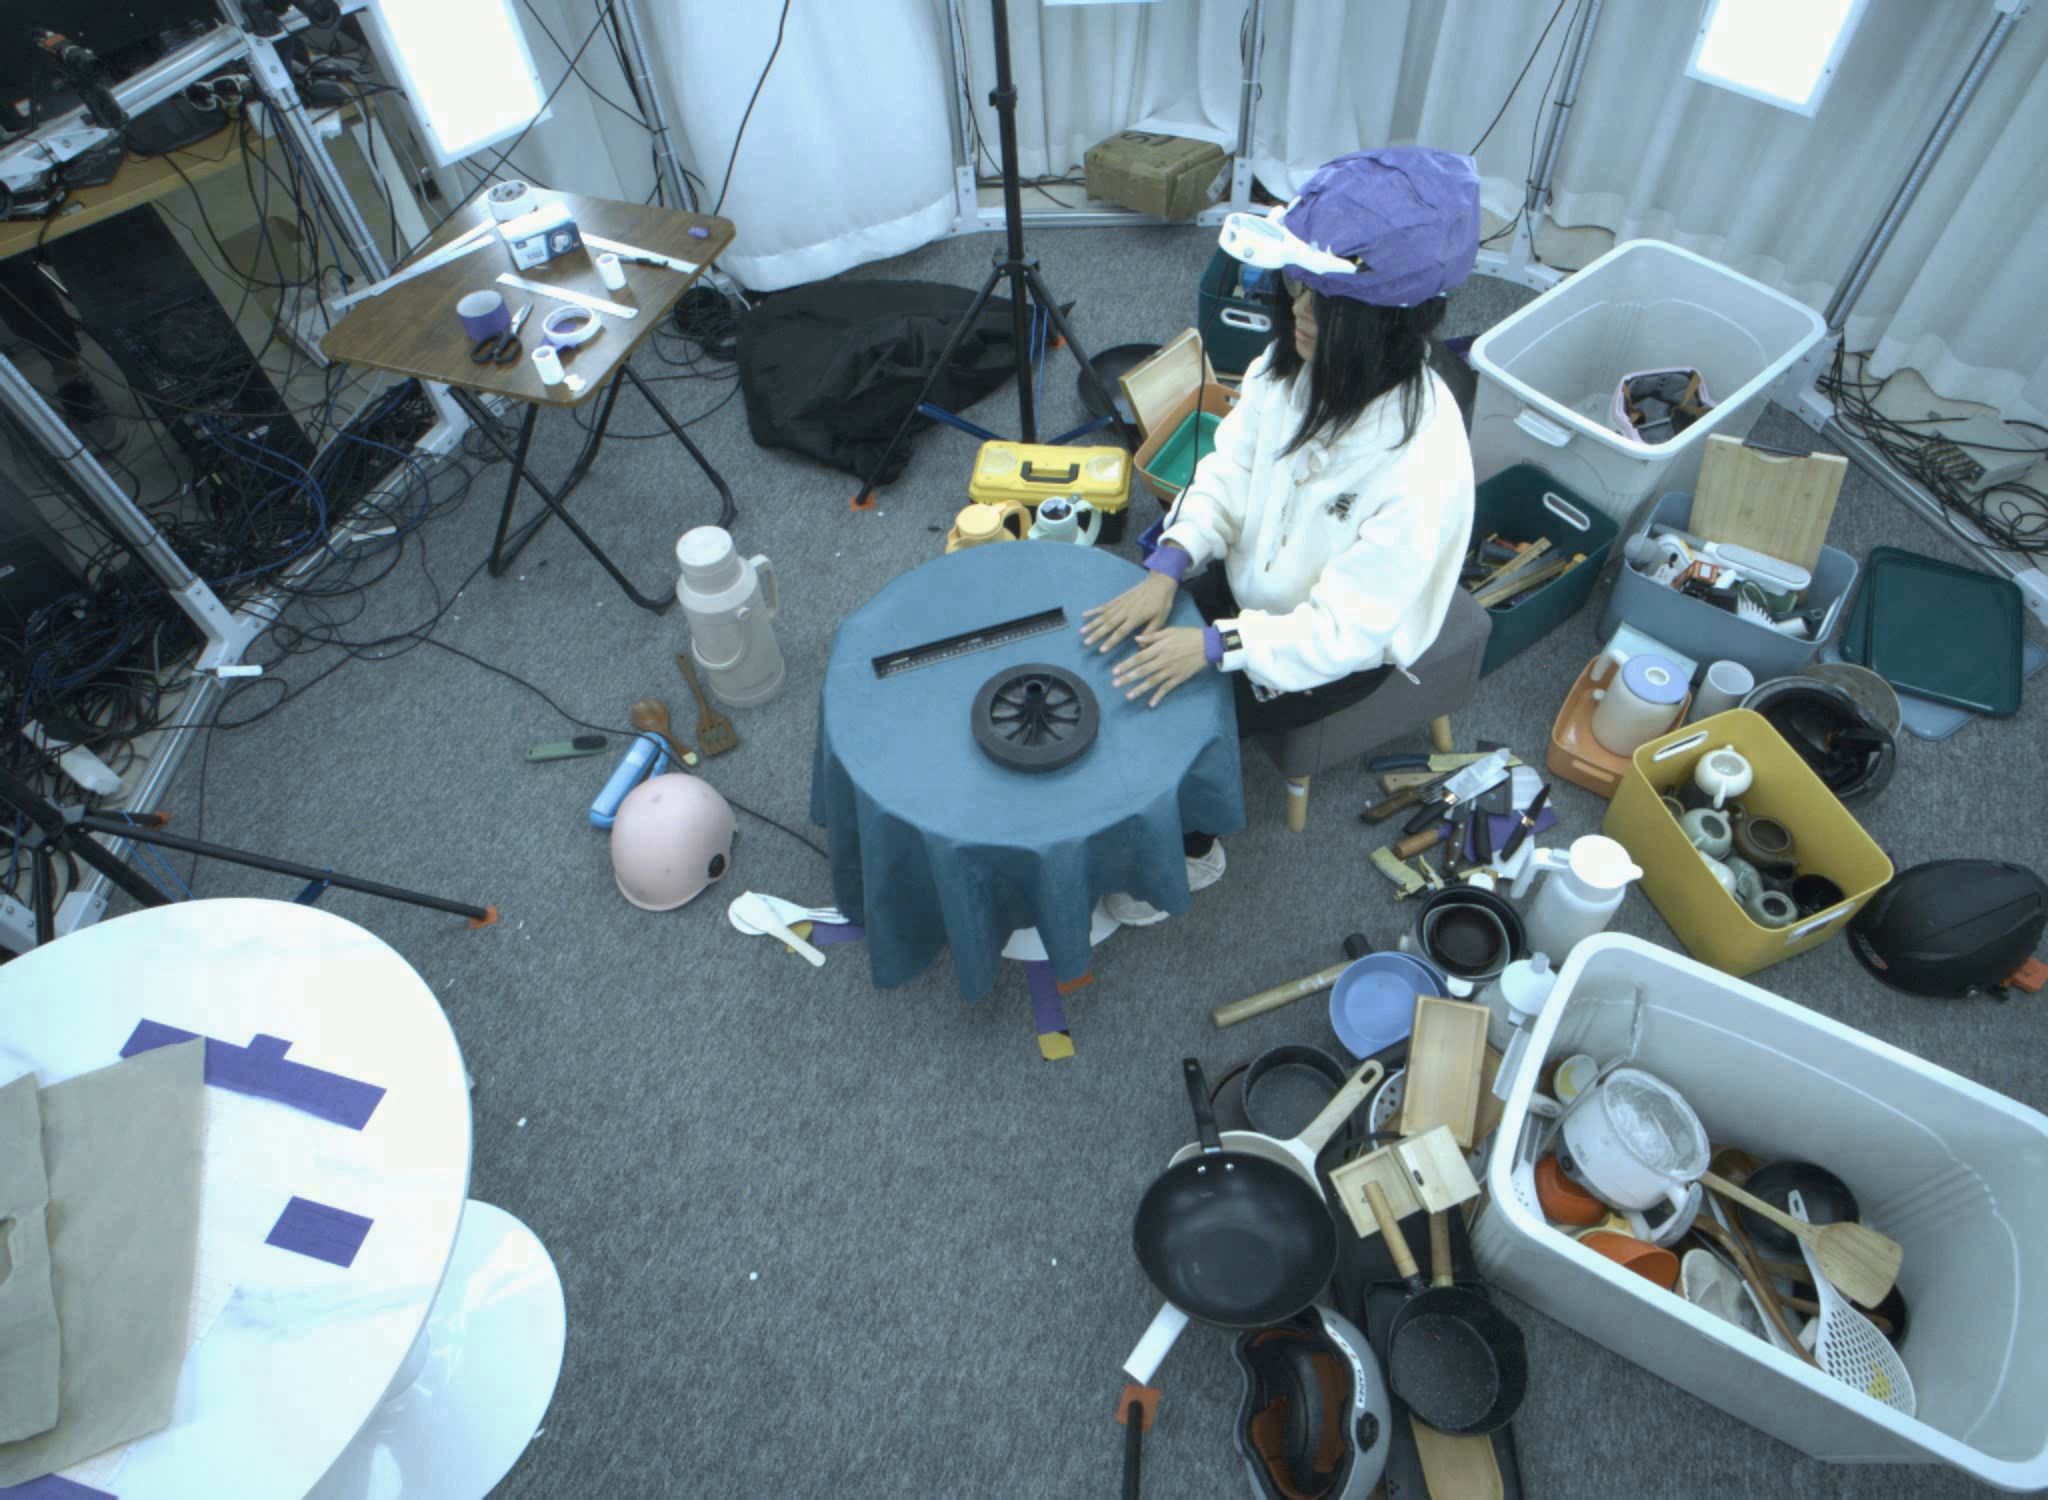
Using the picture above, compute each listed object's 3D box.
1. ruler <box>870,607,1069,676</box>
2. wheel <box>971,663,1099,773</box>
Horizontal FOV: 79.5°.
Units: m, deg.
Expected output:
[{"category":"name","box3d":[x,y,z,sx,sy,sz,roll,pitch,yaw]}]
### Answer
[{"category":"ruler","box3d":[-0.084,-0.169,1.901,0.314,0.017,0.038,-15,60,-9]},{"category":"wheel","box3d":[0.015,-0.061,1.784,0.187,0.080,0.188,-1,56,0]}]
